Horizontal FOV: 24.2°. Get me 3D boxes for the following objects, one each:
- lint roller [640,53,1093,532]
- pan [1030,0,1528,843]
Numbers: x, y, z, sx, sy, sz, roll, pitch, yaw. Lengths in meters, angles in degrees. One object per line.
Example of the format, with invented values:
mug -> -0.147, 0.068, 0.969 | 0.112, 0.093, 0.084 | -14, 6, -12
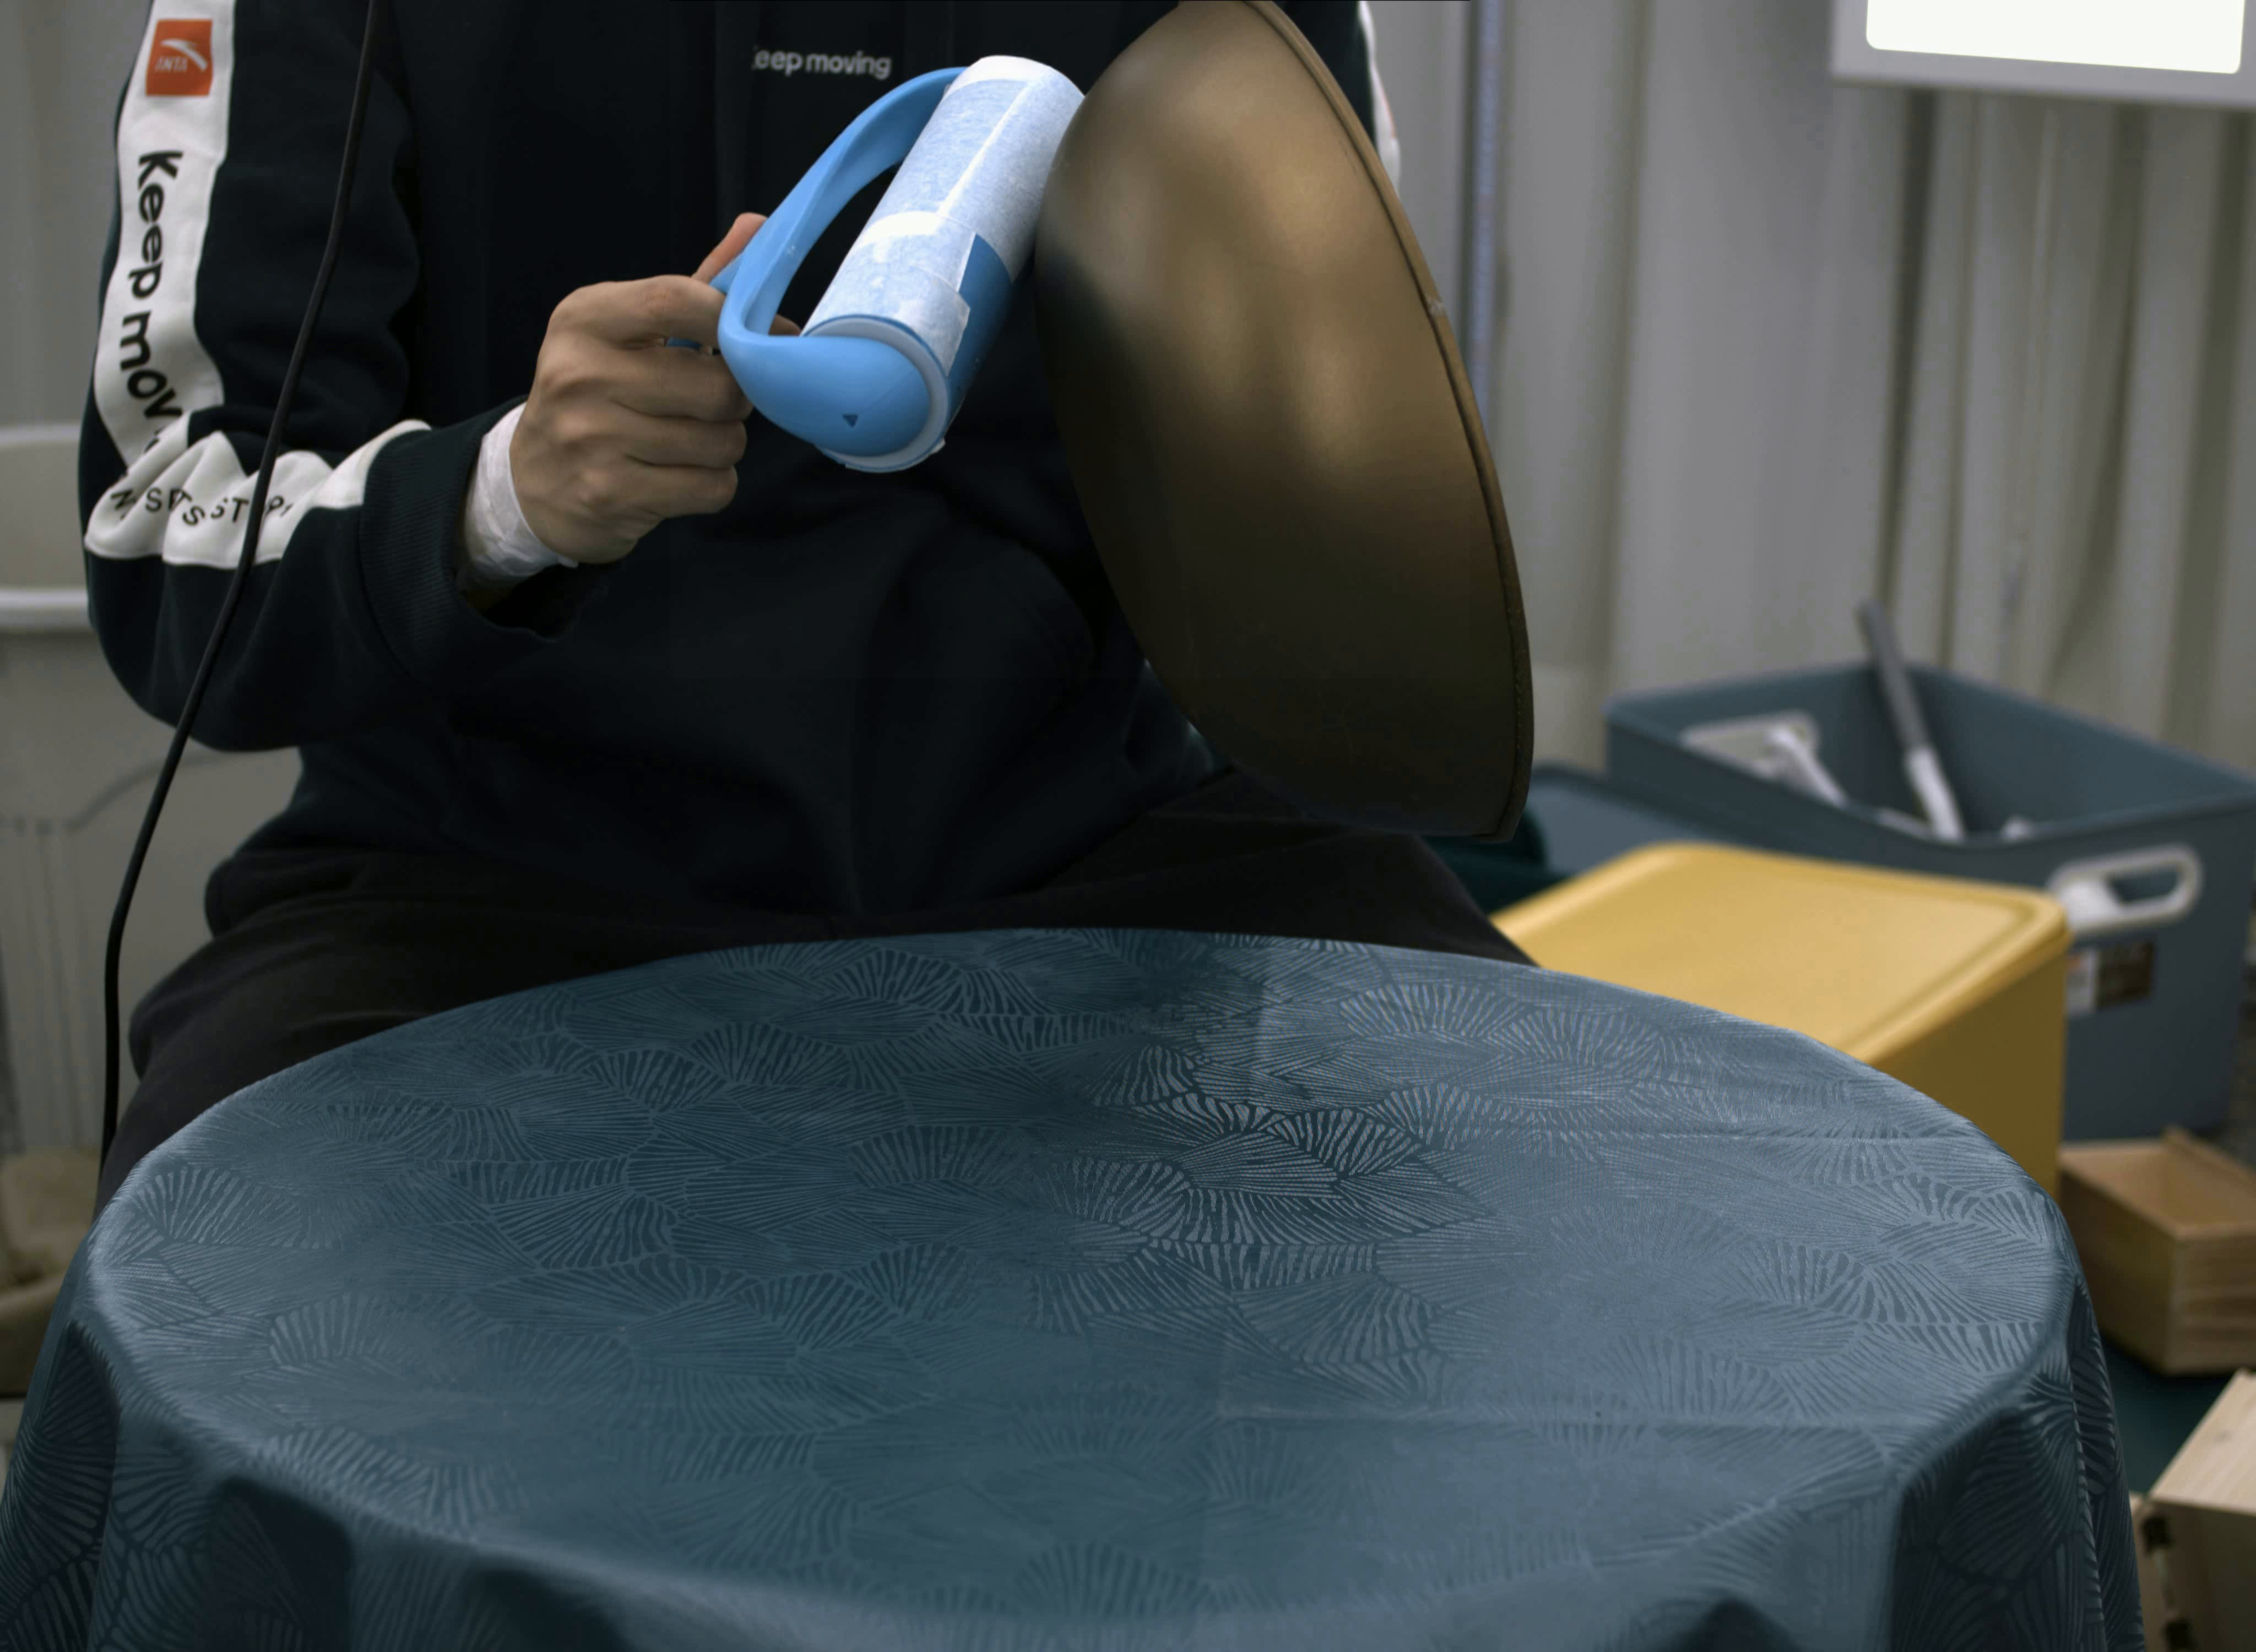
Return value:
lint roller -> -0.102, -0.158, 1.688 | 0.179, 0.068, 0.227 | -28, 23, 24
pan -> 0.023, -0.099, 1.722 | 0.087, 0.287, 0.464 | -18, -9, -11
